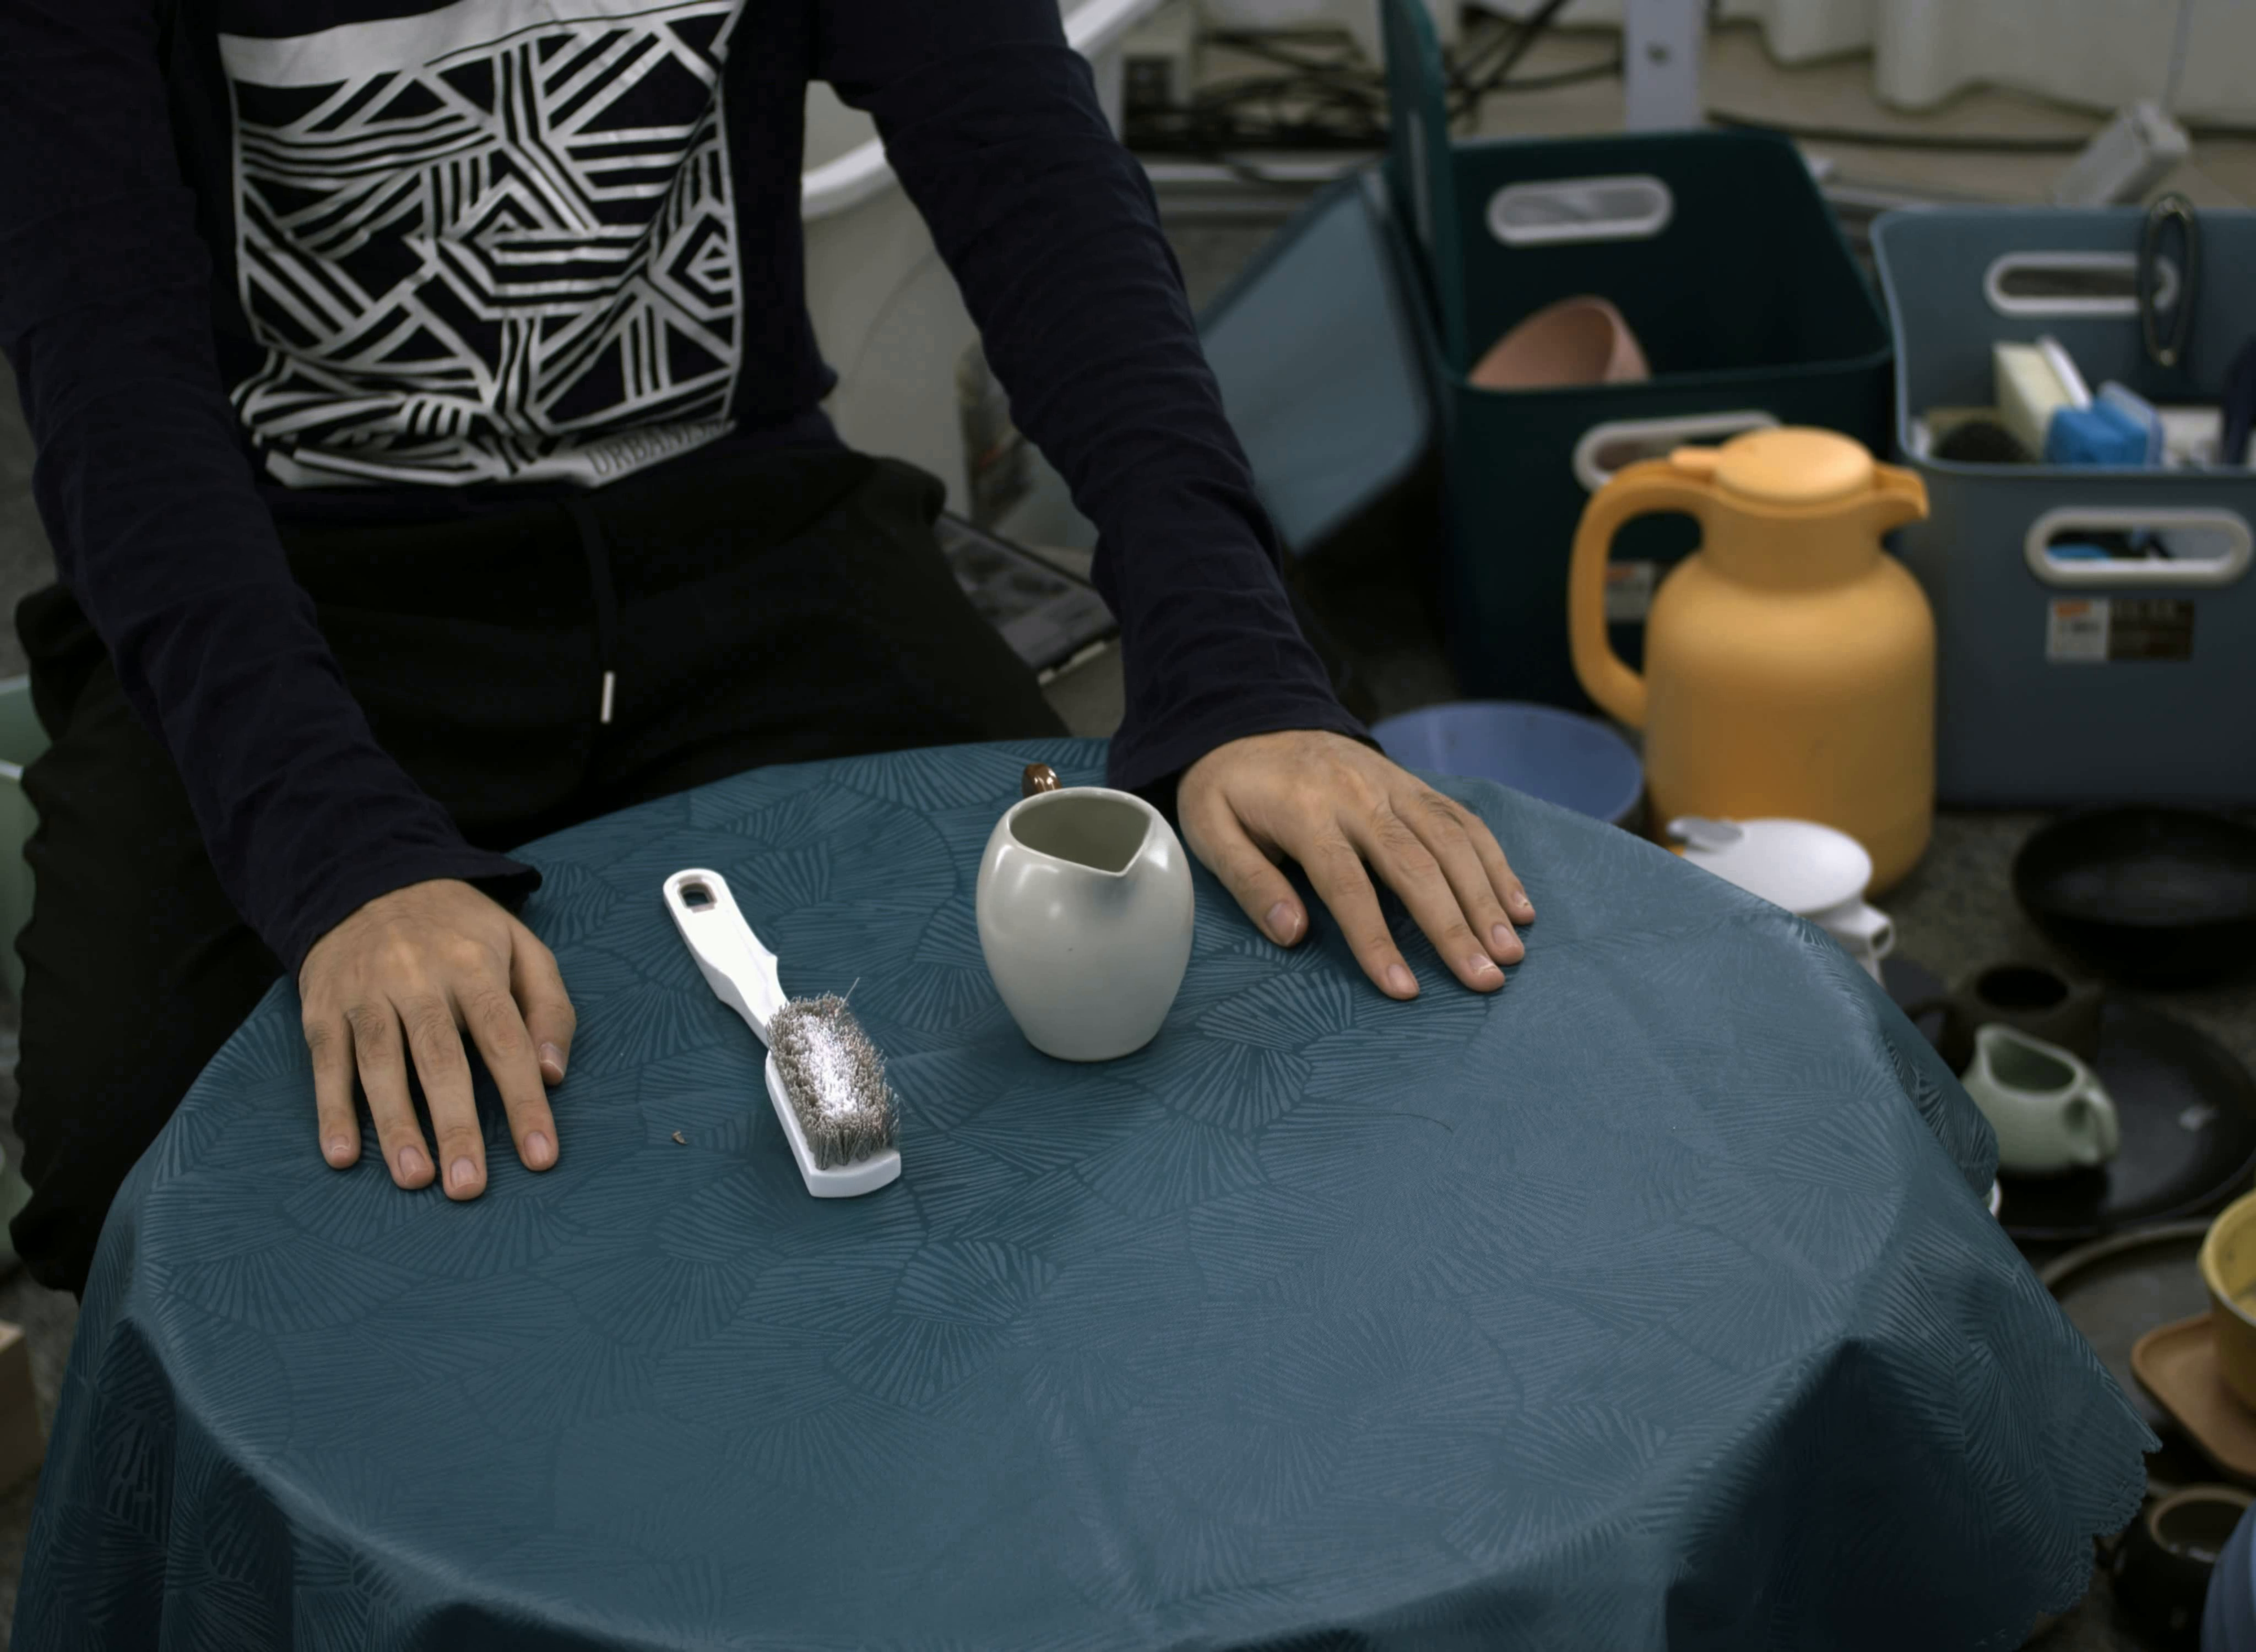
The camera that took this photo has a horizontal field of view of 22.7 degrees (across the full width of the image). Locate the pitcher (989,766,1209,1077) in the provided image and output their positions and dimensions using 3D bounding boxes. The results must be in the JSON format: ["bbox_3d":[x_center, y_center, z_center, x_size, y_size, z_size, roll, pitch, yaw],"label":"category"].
[{"bbox_3d":[-0.012,0.034,1.935,0.076,0.087,0.120,-5,29,-13],"label":"pitcher"}]

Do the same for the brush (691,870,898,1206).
[{"bbox_3d":[-0.122,0.056,1.948,0.034,0.050,0.246,-14,29,-9],"label":"brush"}]
